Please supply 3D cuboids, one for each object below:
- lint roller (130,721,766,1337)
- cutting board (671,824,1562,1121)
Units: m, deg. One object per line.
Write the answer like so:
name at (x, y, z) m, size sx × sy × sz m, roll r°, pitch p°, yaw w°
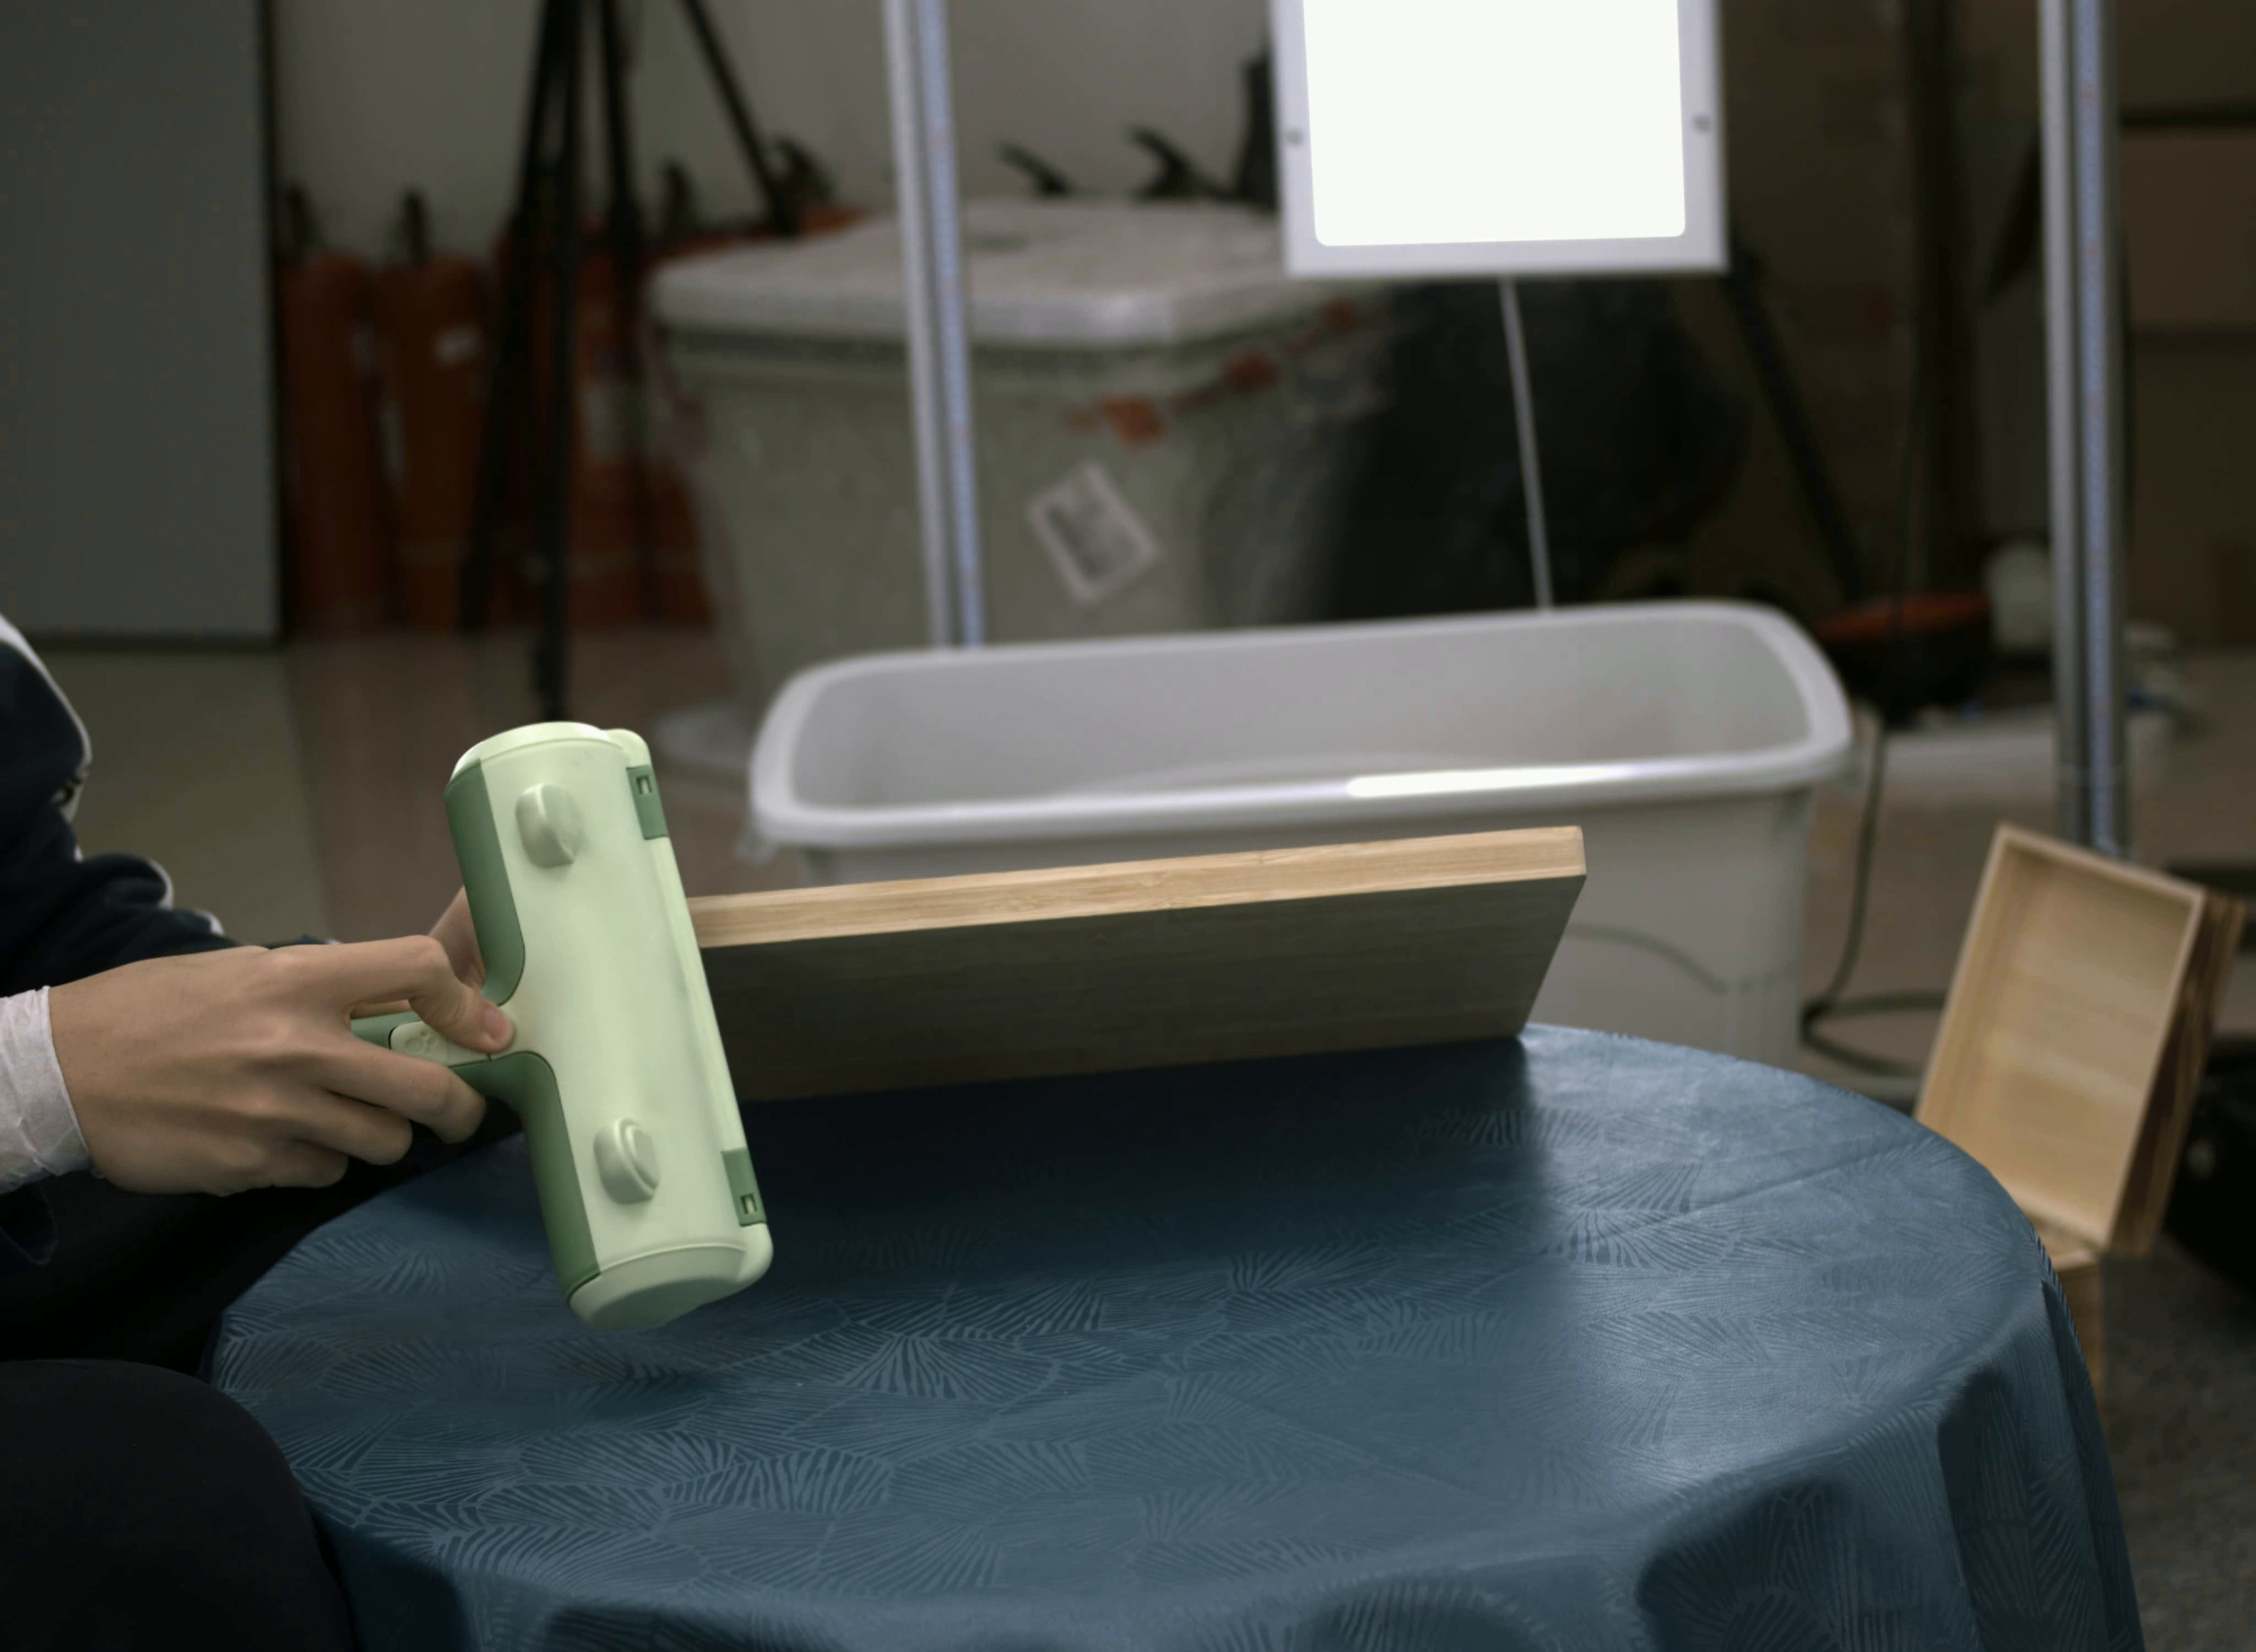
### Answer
lint roller at (-0.222, 0.068, 1.748) m, size 0.180 × 0.199 × 0.083 m, roll -9°, pitch -21°, yaw -17°
cutting board at (-0.025, 0.055, 1.925) m, size 0.347 × 0.023 × 0.251 m, roll -4°, pitch -16°, yaw -1°
